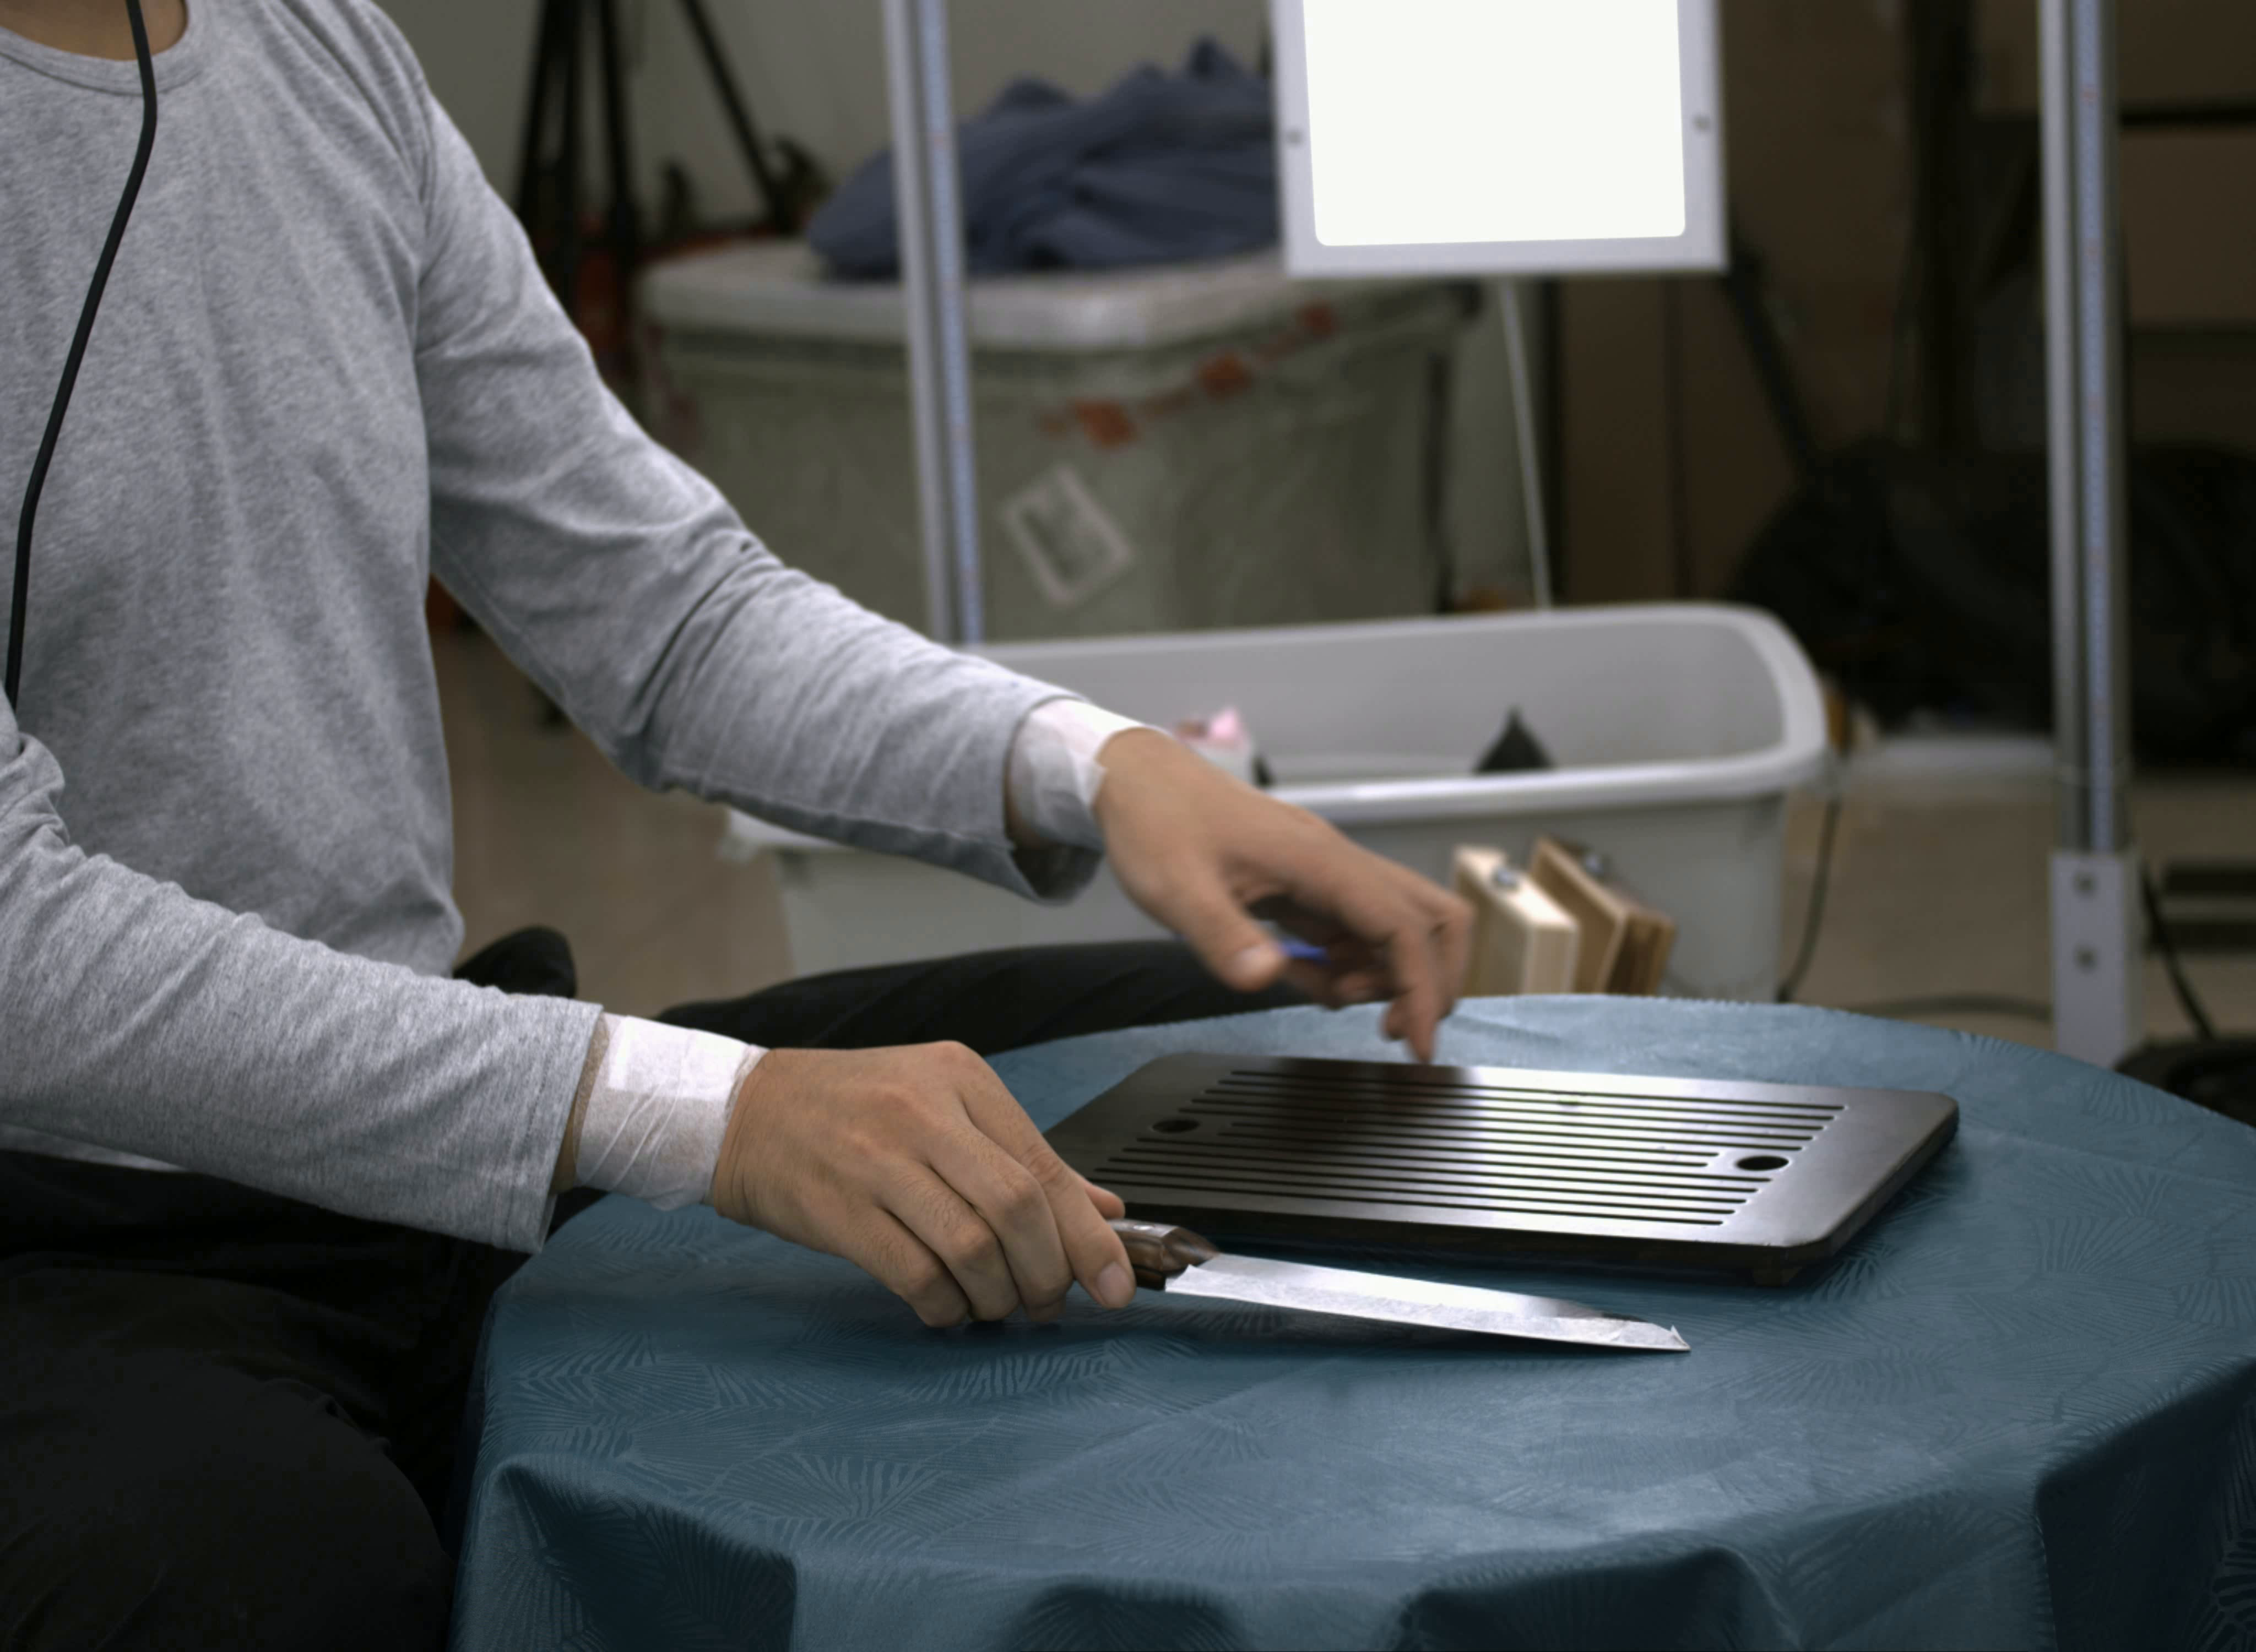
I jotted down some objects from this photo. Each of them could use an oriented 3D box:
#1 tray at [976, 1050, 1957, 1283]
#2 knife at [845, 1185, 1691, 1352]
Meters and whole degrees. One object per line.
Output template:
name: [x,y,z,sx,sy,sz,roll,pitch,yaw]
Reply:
tray: [0.117,0.114,1.873,0.311,0.019,0.166,2,15,28]
knife: [0.040,0.144,1.750,0.293,0.020,0.049,7,17,22]
